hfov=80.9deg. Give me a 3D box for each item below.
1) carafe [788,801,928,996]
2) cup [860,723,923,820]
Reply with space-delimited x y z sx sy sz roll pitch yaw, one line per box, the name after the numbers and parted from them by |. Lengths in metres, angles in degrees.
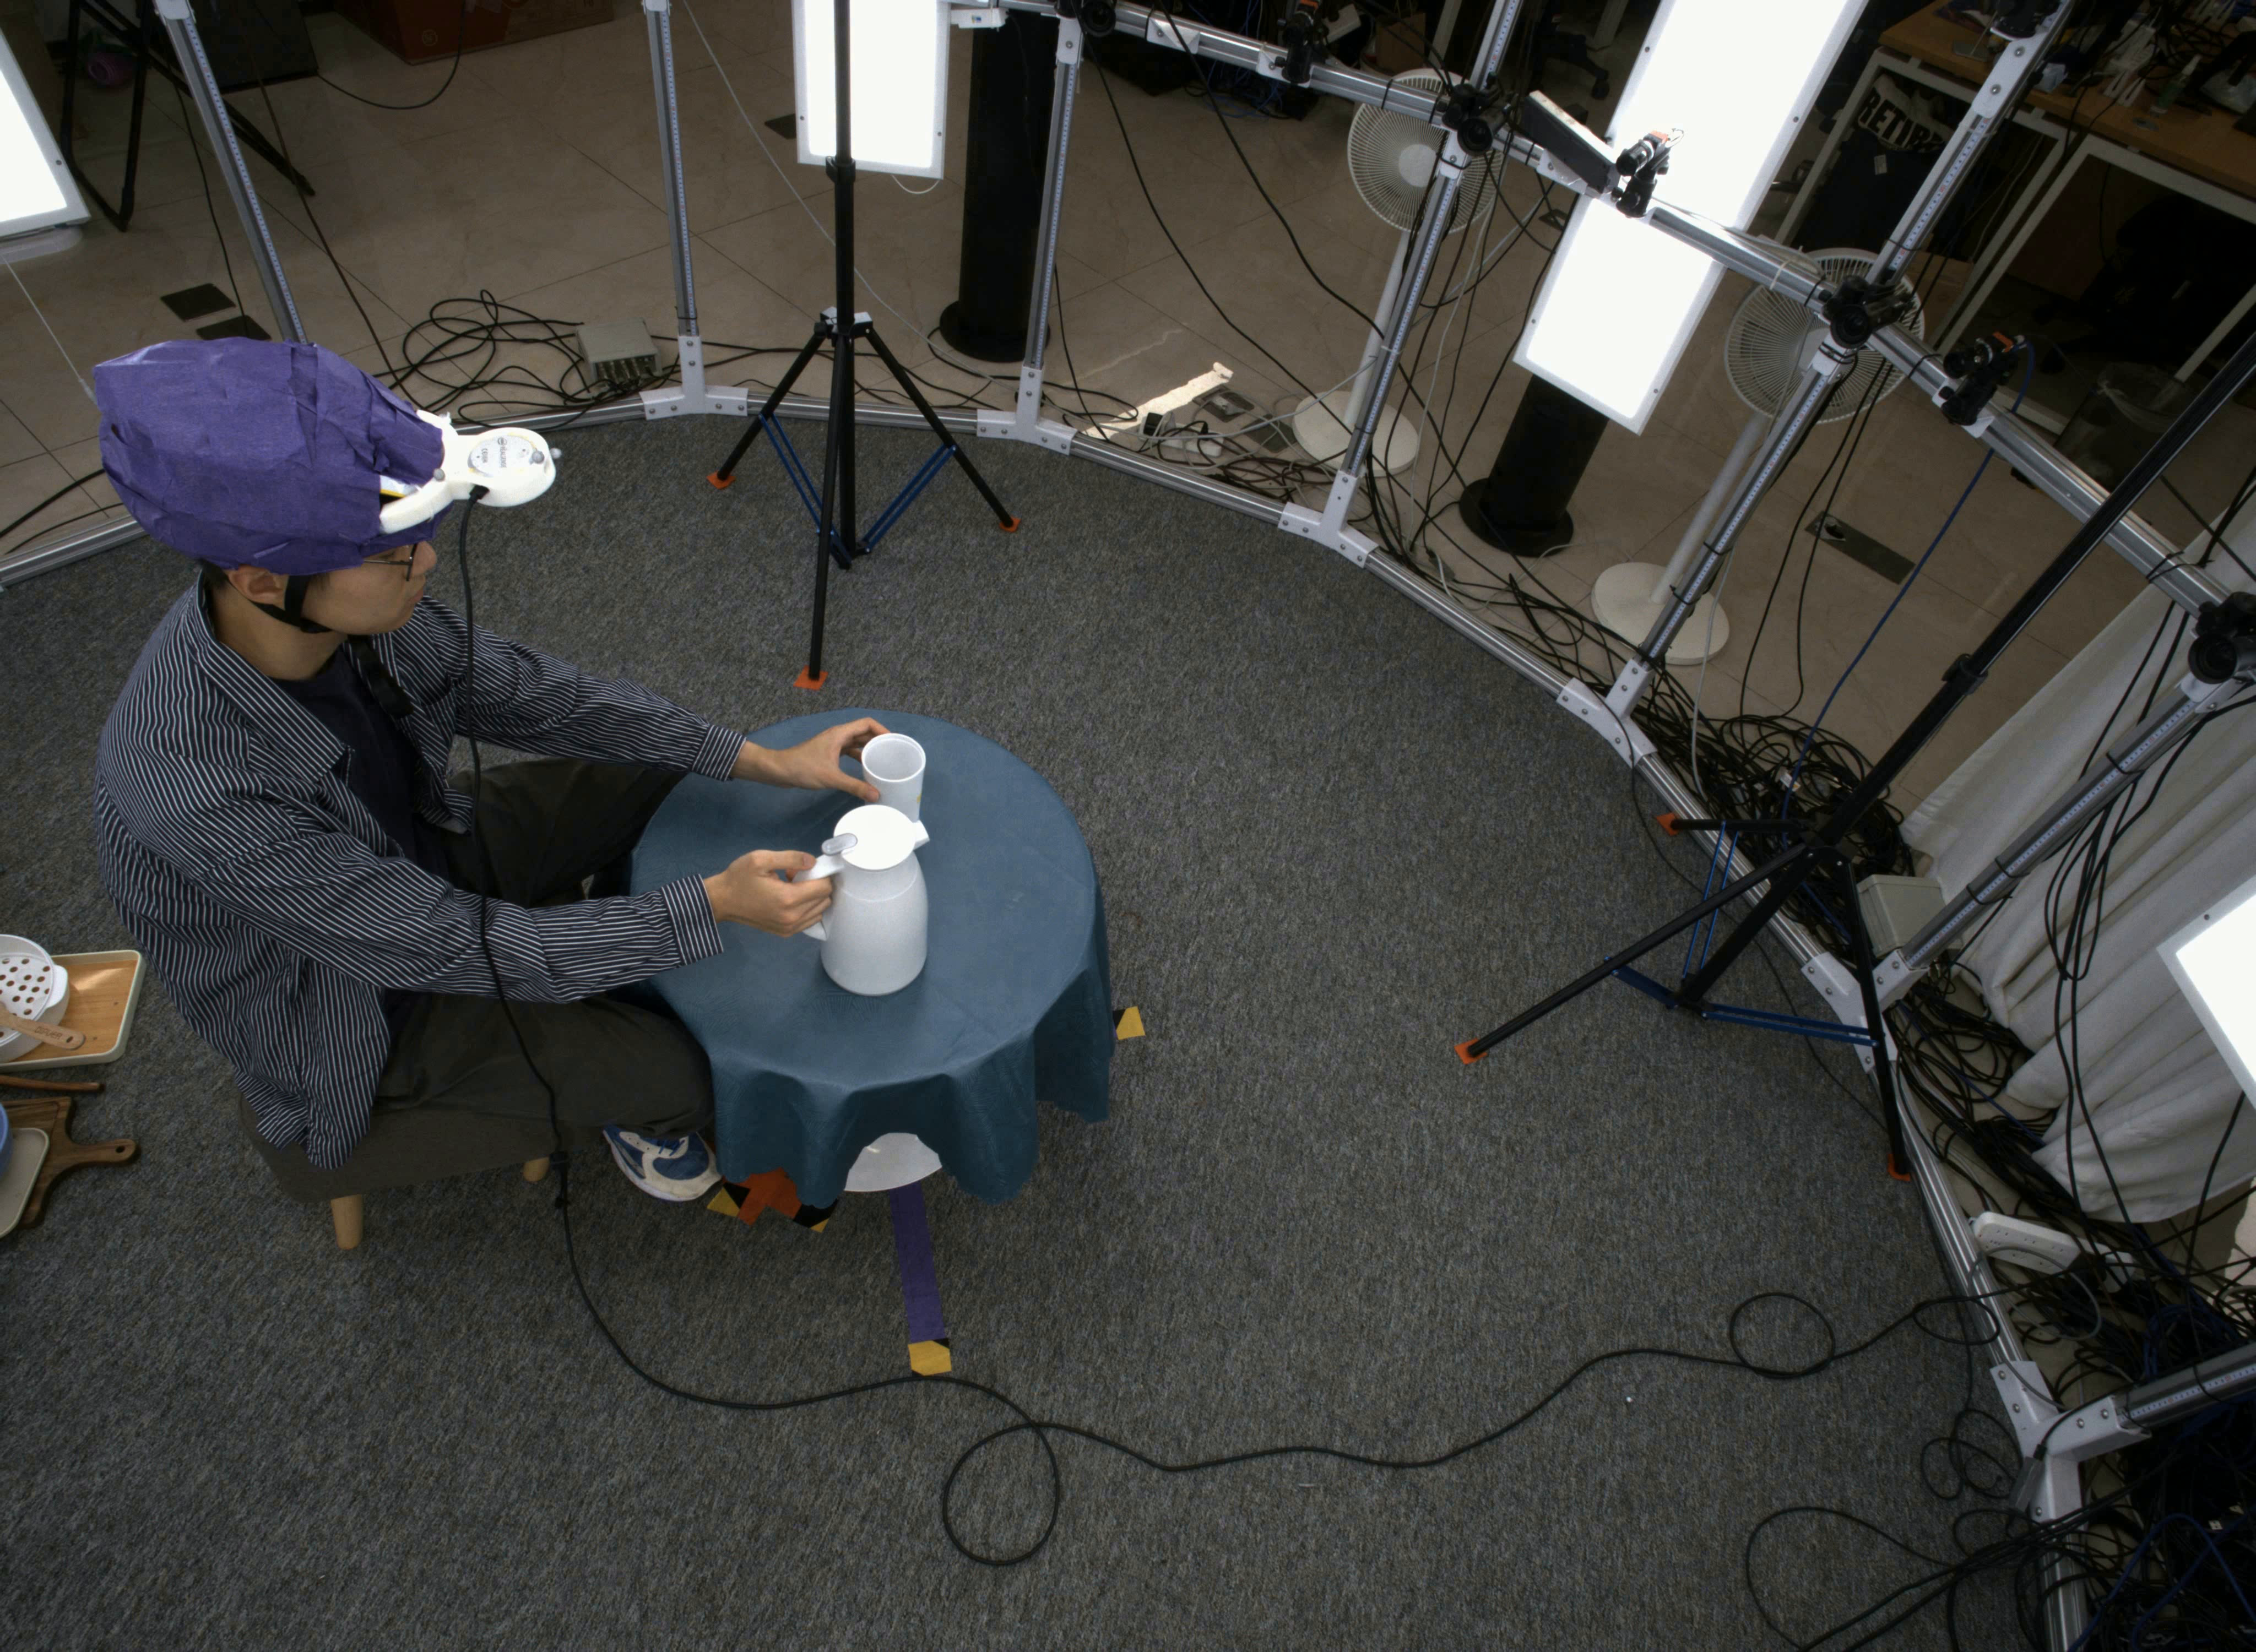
-0.319 0.086 1.536 0.168 0.253 0.129 -22 61 -28 | carafe
-0.315 -0.065 1.730 0.081 0.128 0.080 6 53 -7 | cup
